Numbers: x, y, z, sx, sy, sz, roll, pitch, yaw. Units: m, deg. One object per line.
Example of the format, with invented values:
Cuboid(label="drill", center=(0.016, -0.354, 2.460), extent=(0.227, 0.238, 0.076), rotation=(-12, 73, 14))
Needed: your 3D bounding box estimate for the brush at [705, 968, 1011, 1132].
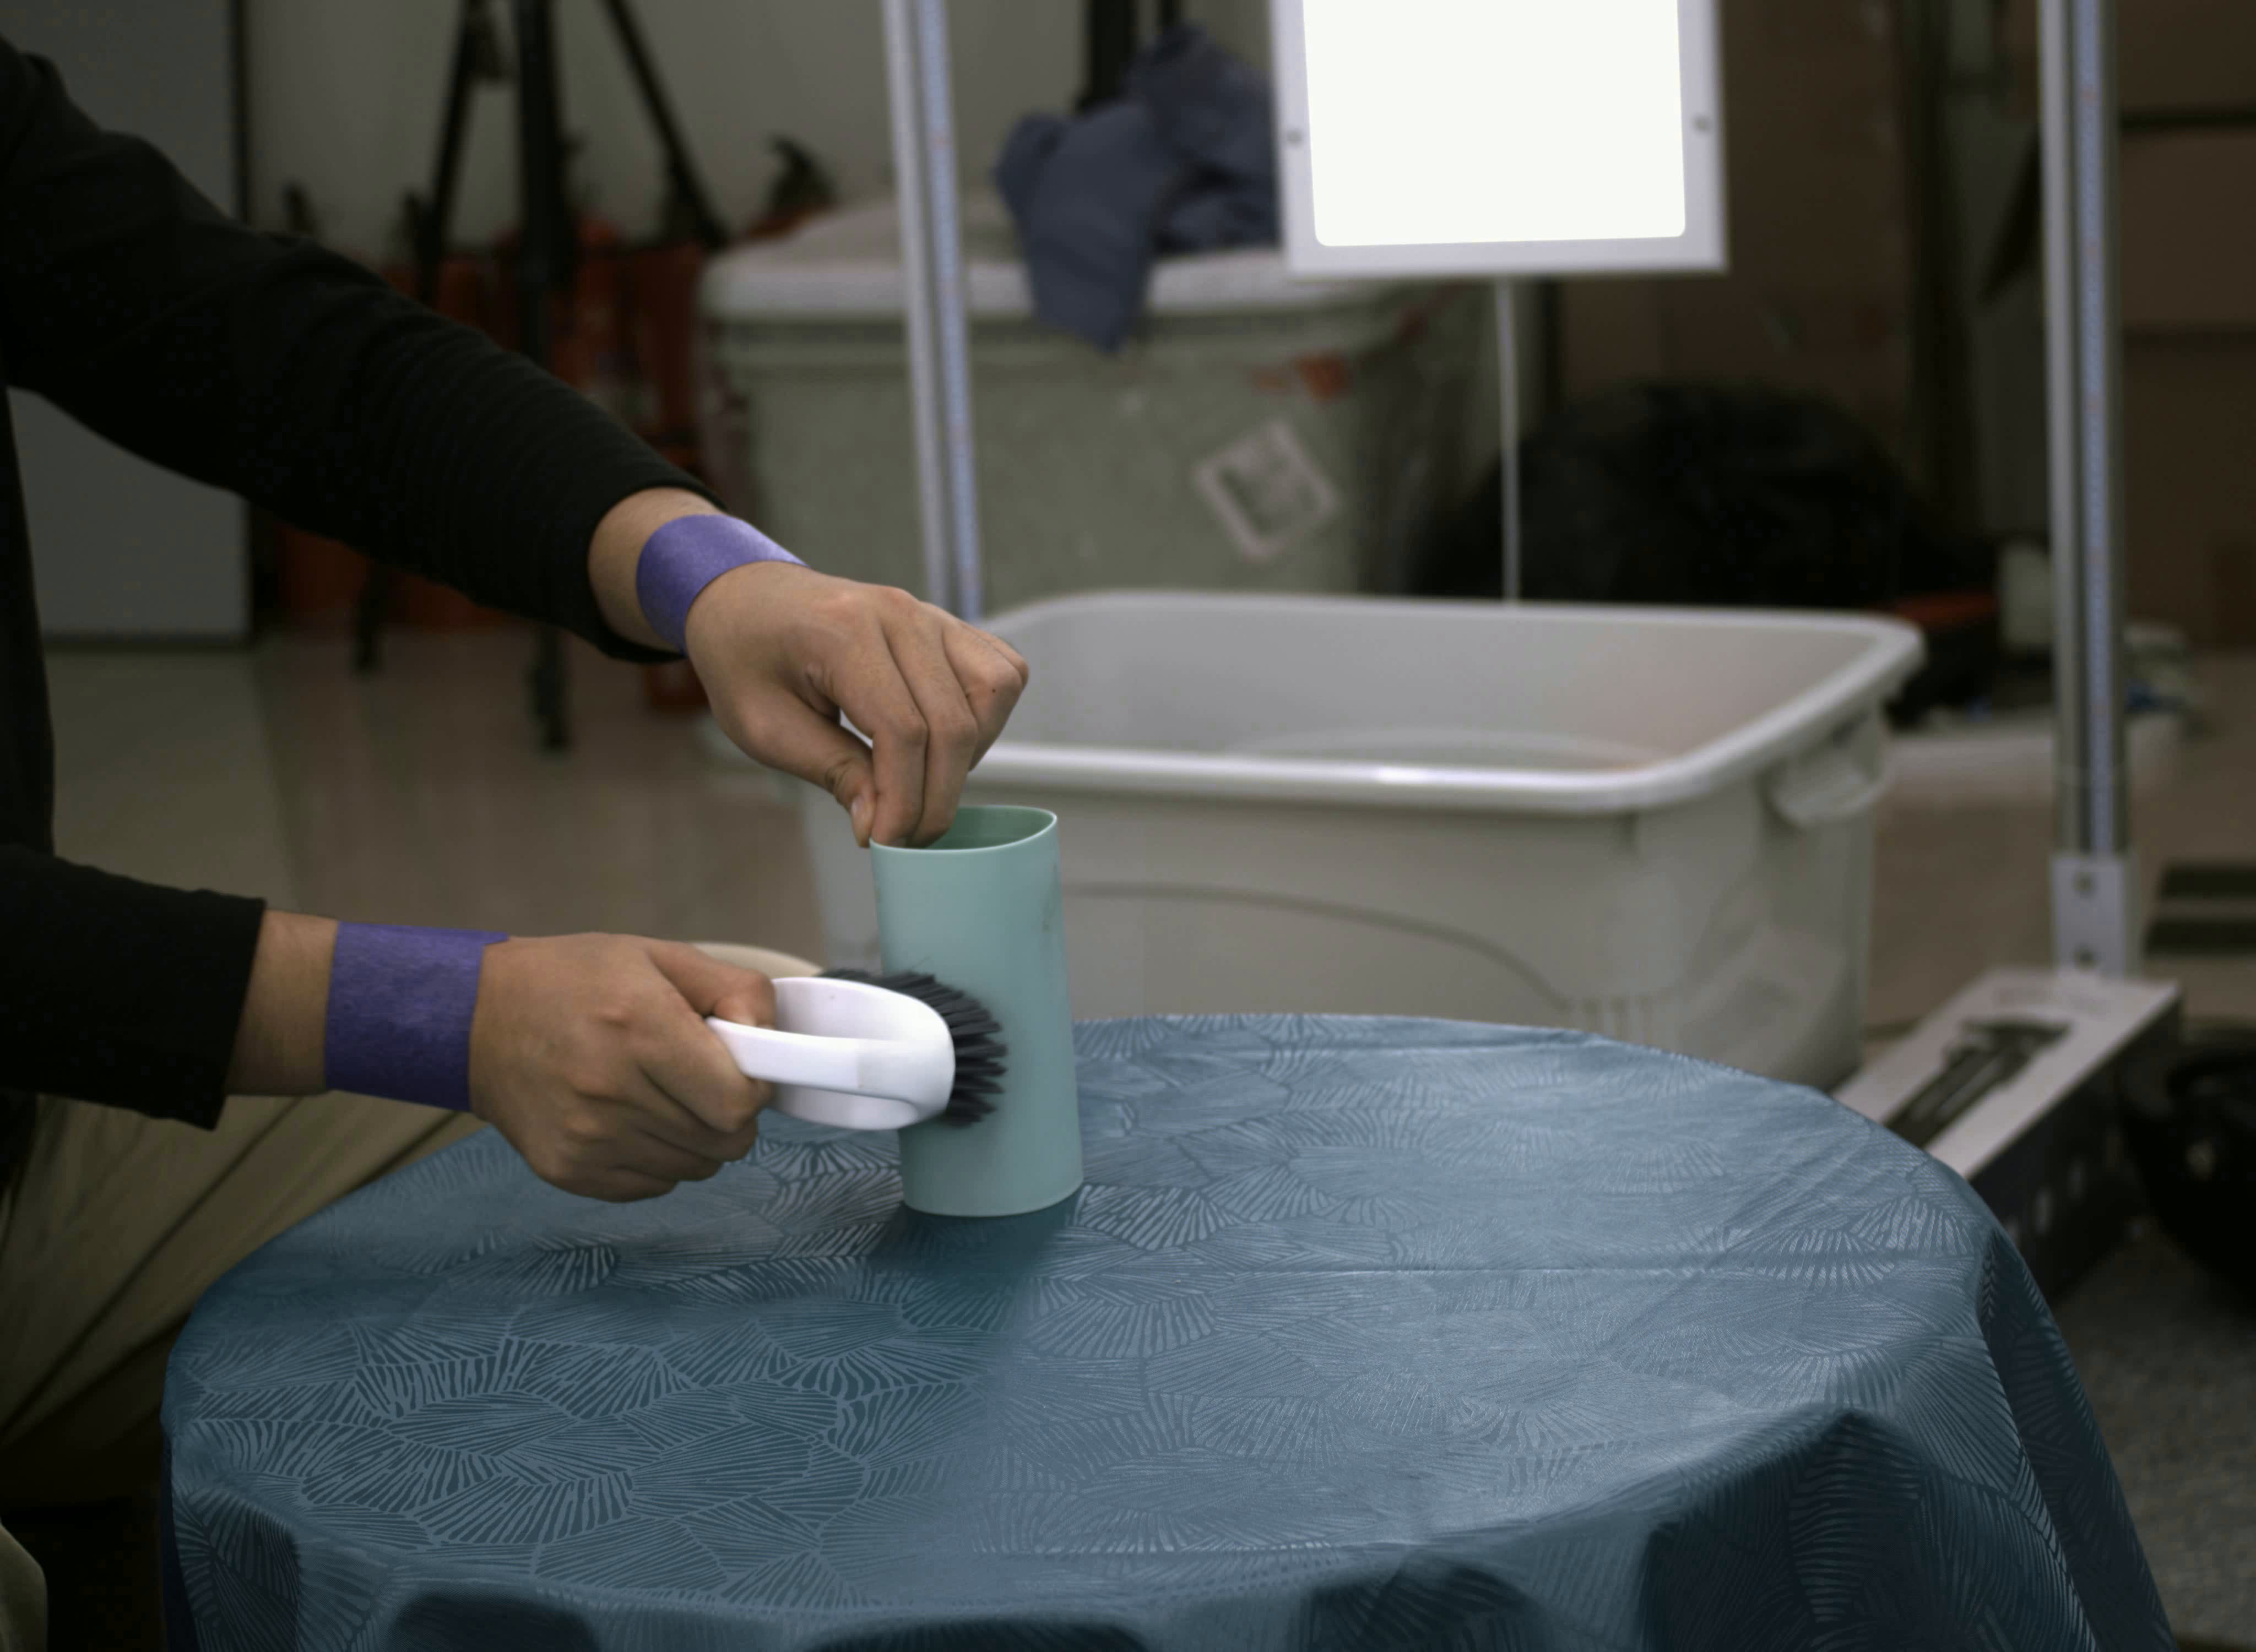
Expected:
Cuboid(label="brush", center=(-0.098, 0.076, 1.850), extent=(0.101, 0.050, 0.070), rotation=(11, 8, 41))

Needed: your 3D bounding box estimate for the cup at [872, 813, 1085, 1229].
Cuboid(label="cup", center=(-0.051, 0.067, 1.899), extent=(0.066, 0.133, 0.066), rotation=(-4, 14, 0))
